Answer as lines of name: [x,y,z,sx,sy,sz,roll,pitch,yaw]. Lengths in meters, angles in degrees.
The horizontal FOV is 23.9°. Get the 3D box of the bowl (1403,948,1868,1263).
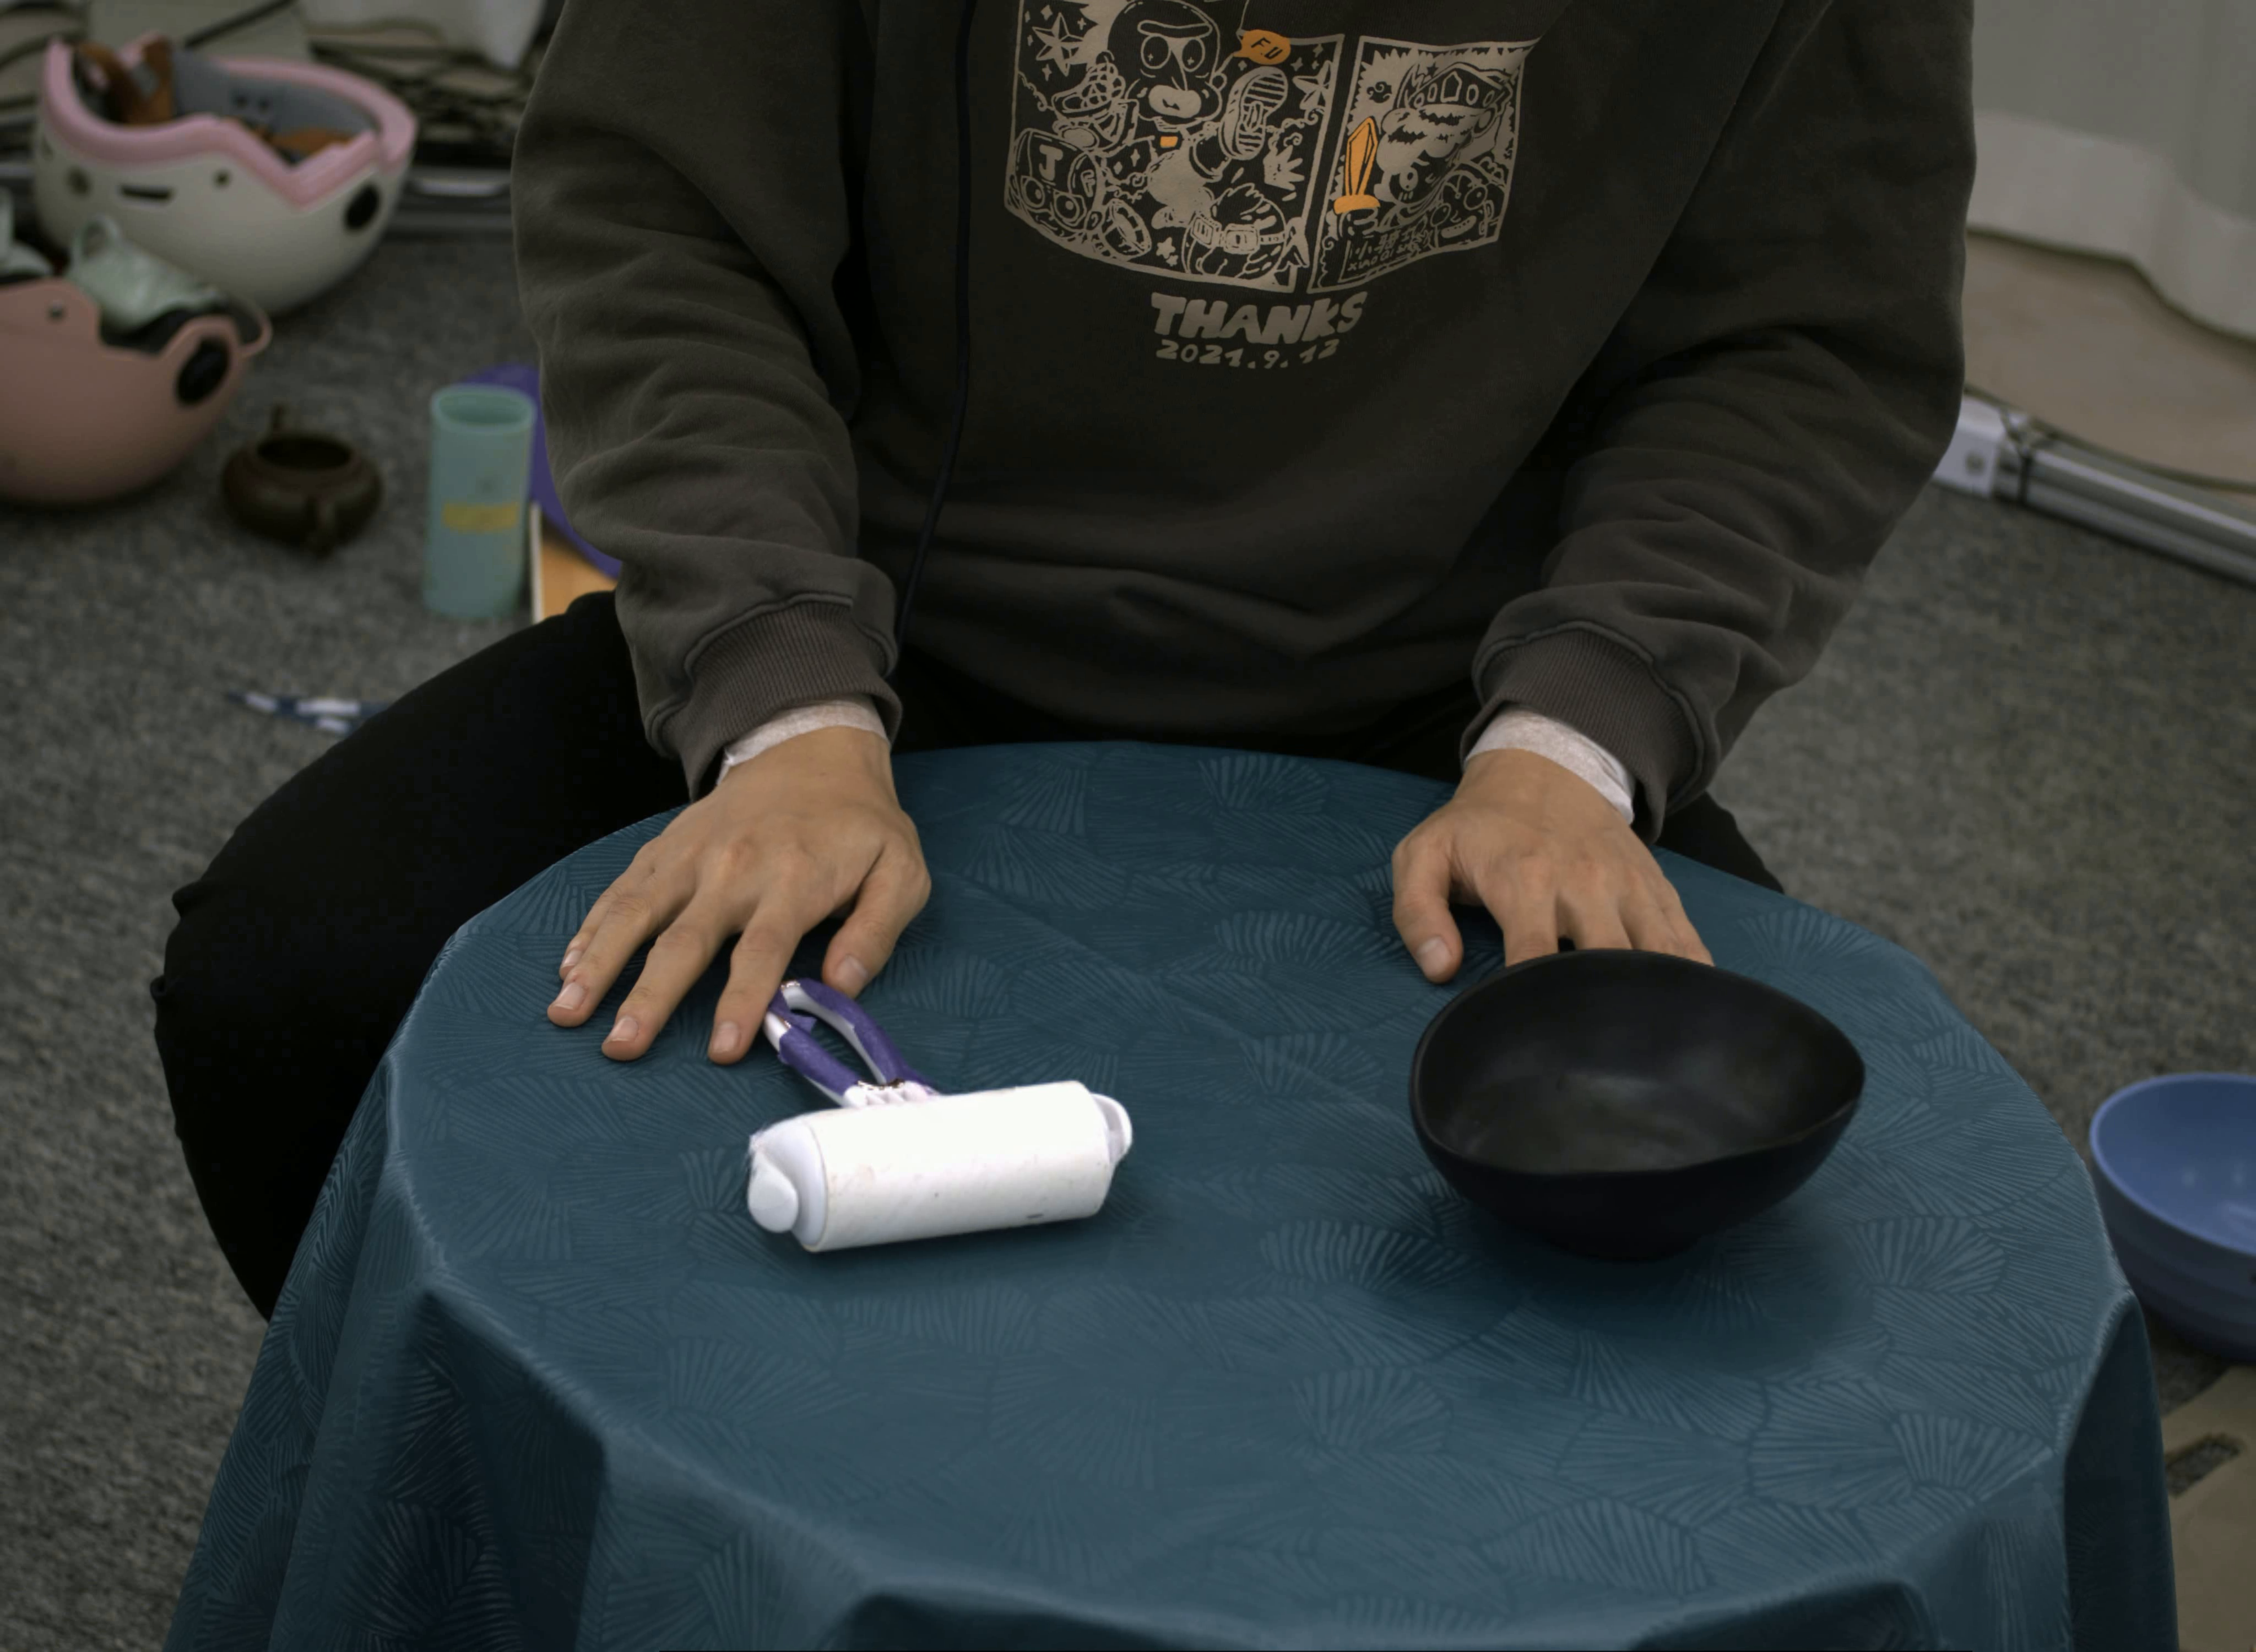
bowl: [0.170,0.105,1.810,0.169,0.066,0.138,-16,33,-34]

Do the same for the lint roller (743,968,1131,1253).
lint roller: [-0.084,0.081,1.815,0.132,0.050,0.182,-5,31,-21]
